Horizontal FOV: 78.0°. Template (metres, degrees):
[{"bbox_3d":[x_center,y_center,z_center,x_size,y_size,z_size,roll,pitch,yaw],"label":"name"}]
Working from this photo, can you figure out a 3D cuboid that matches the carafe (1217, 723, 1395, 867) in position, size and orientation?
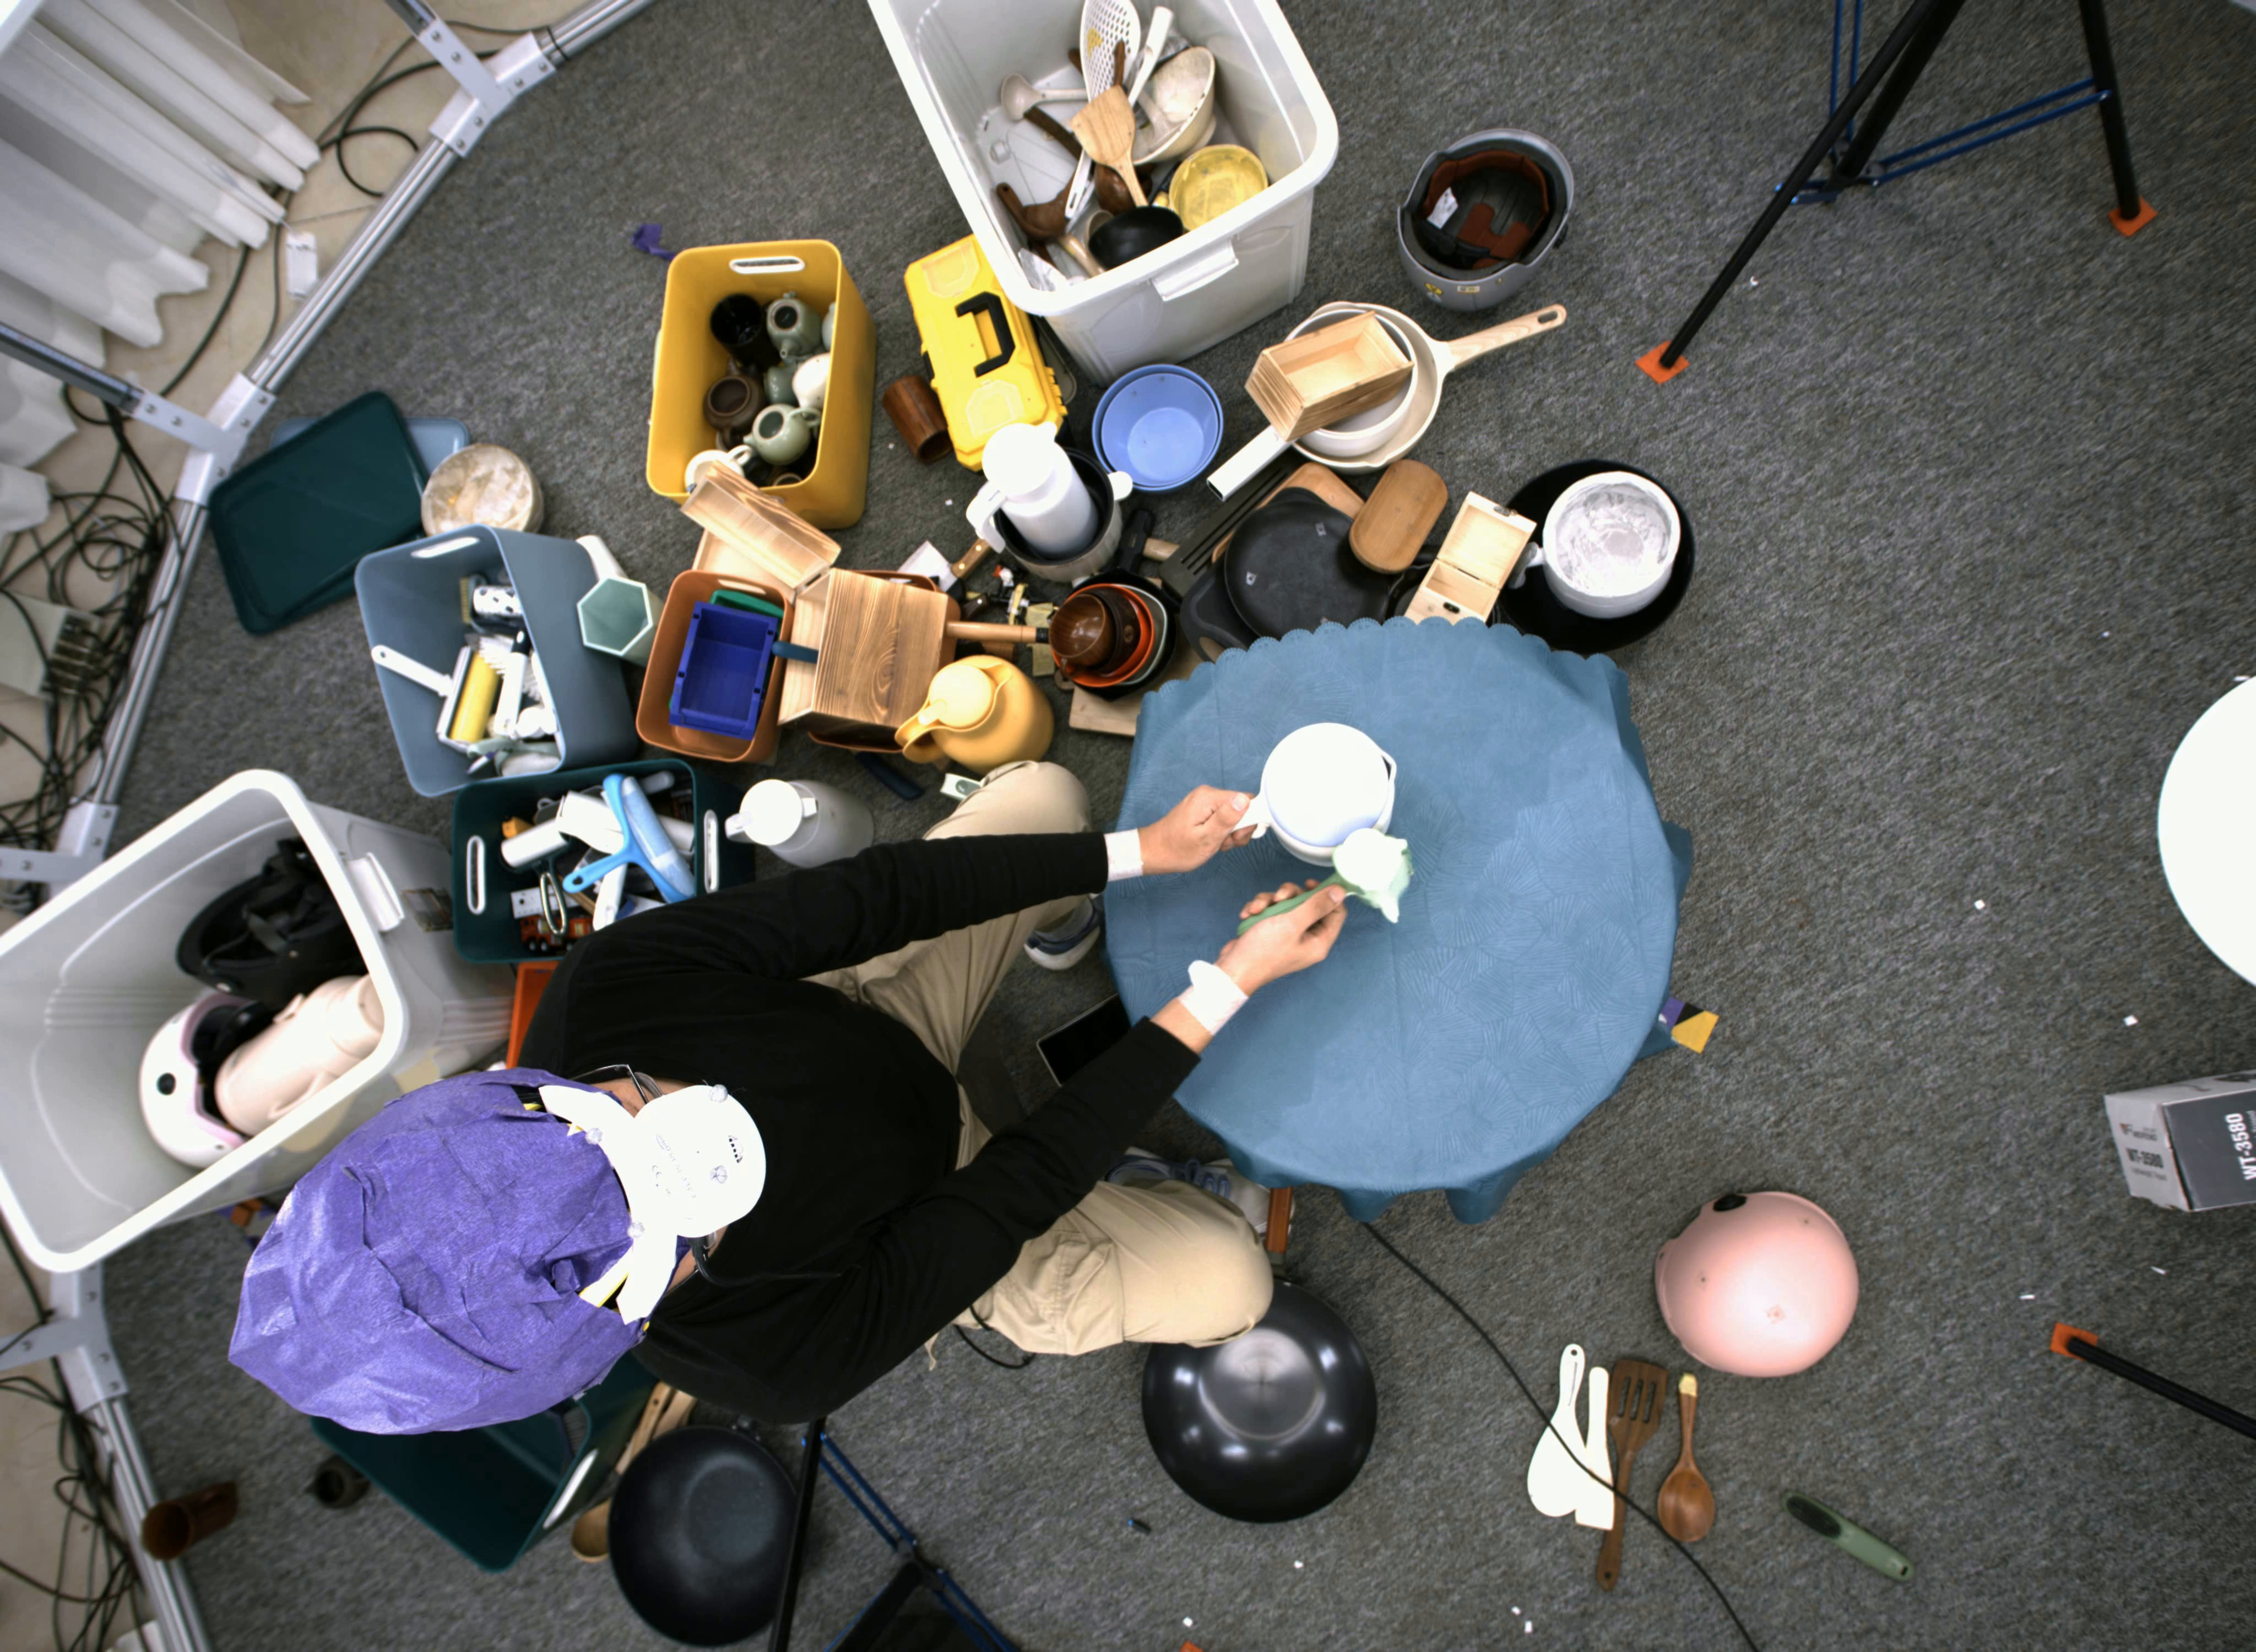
[{"bbox_3d":[0.179,-0.022,1.395,0.192,0.182,0.131,-19,81,10],"label":"carafe"}]

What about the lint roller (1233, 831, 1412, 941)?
[{"bbox_3d":[0.196,0.080,1.348,0.184,0.199,0.081,-35,76,7],"label":"lint roller"}]
